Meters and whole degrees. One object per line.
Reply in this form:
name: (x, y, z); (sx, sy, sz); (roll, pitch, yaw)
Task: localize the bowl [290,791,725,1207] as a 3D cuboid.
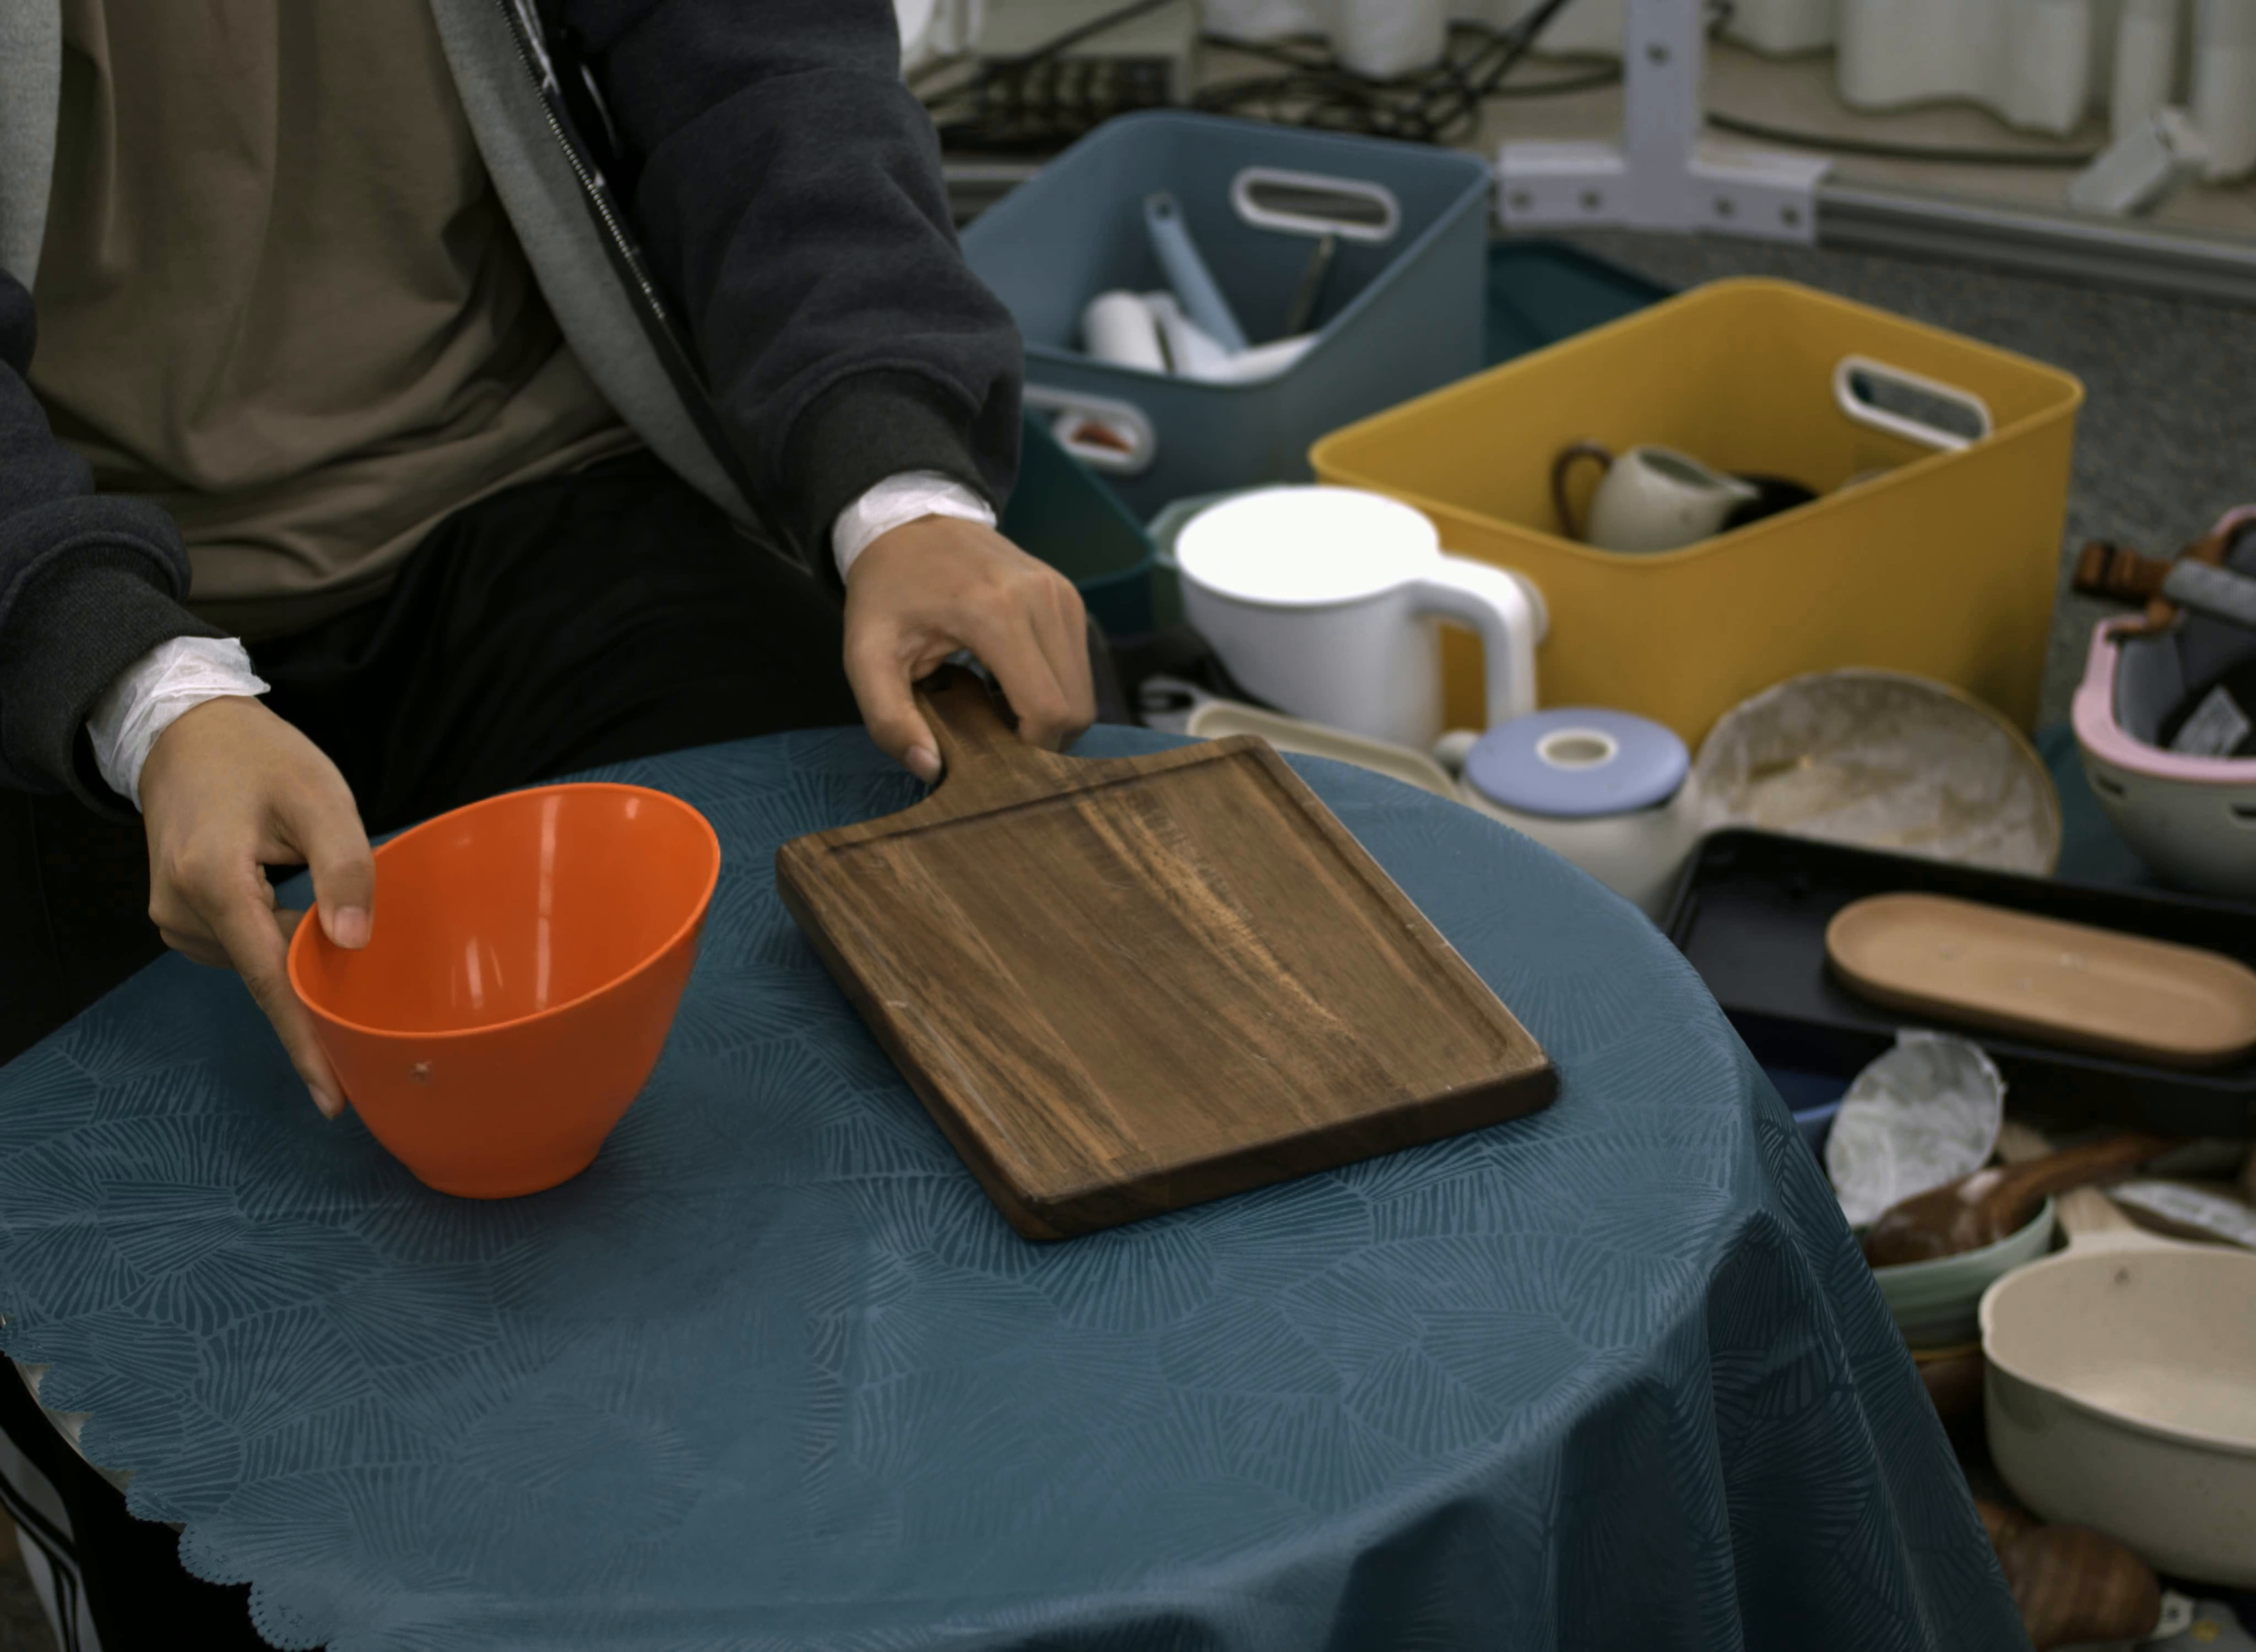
bowl: (-0.203, 0.065, 1.885); (0.147, 0.103, 0.150); (-3, 27, 2)

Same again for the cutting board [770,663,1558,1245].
cutting board: (-0.011, 0.028, 2.000); (0.202, 0.023, 0.355); (-13, 32, -19)
